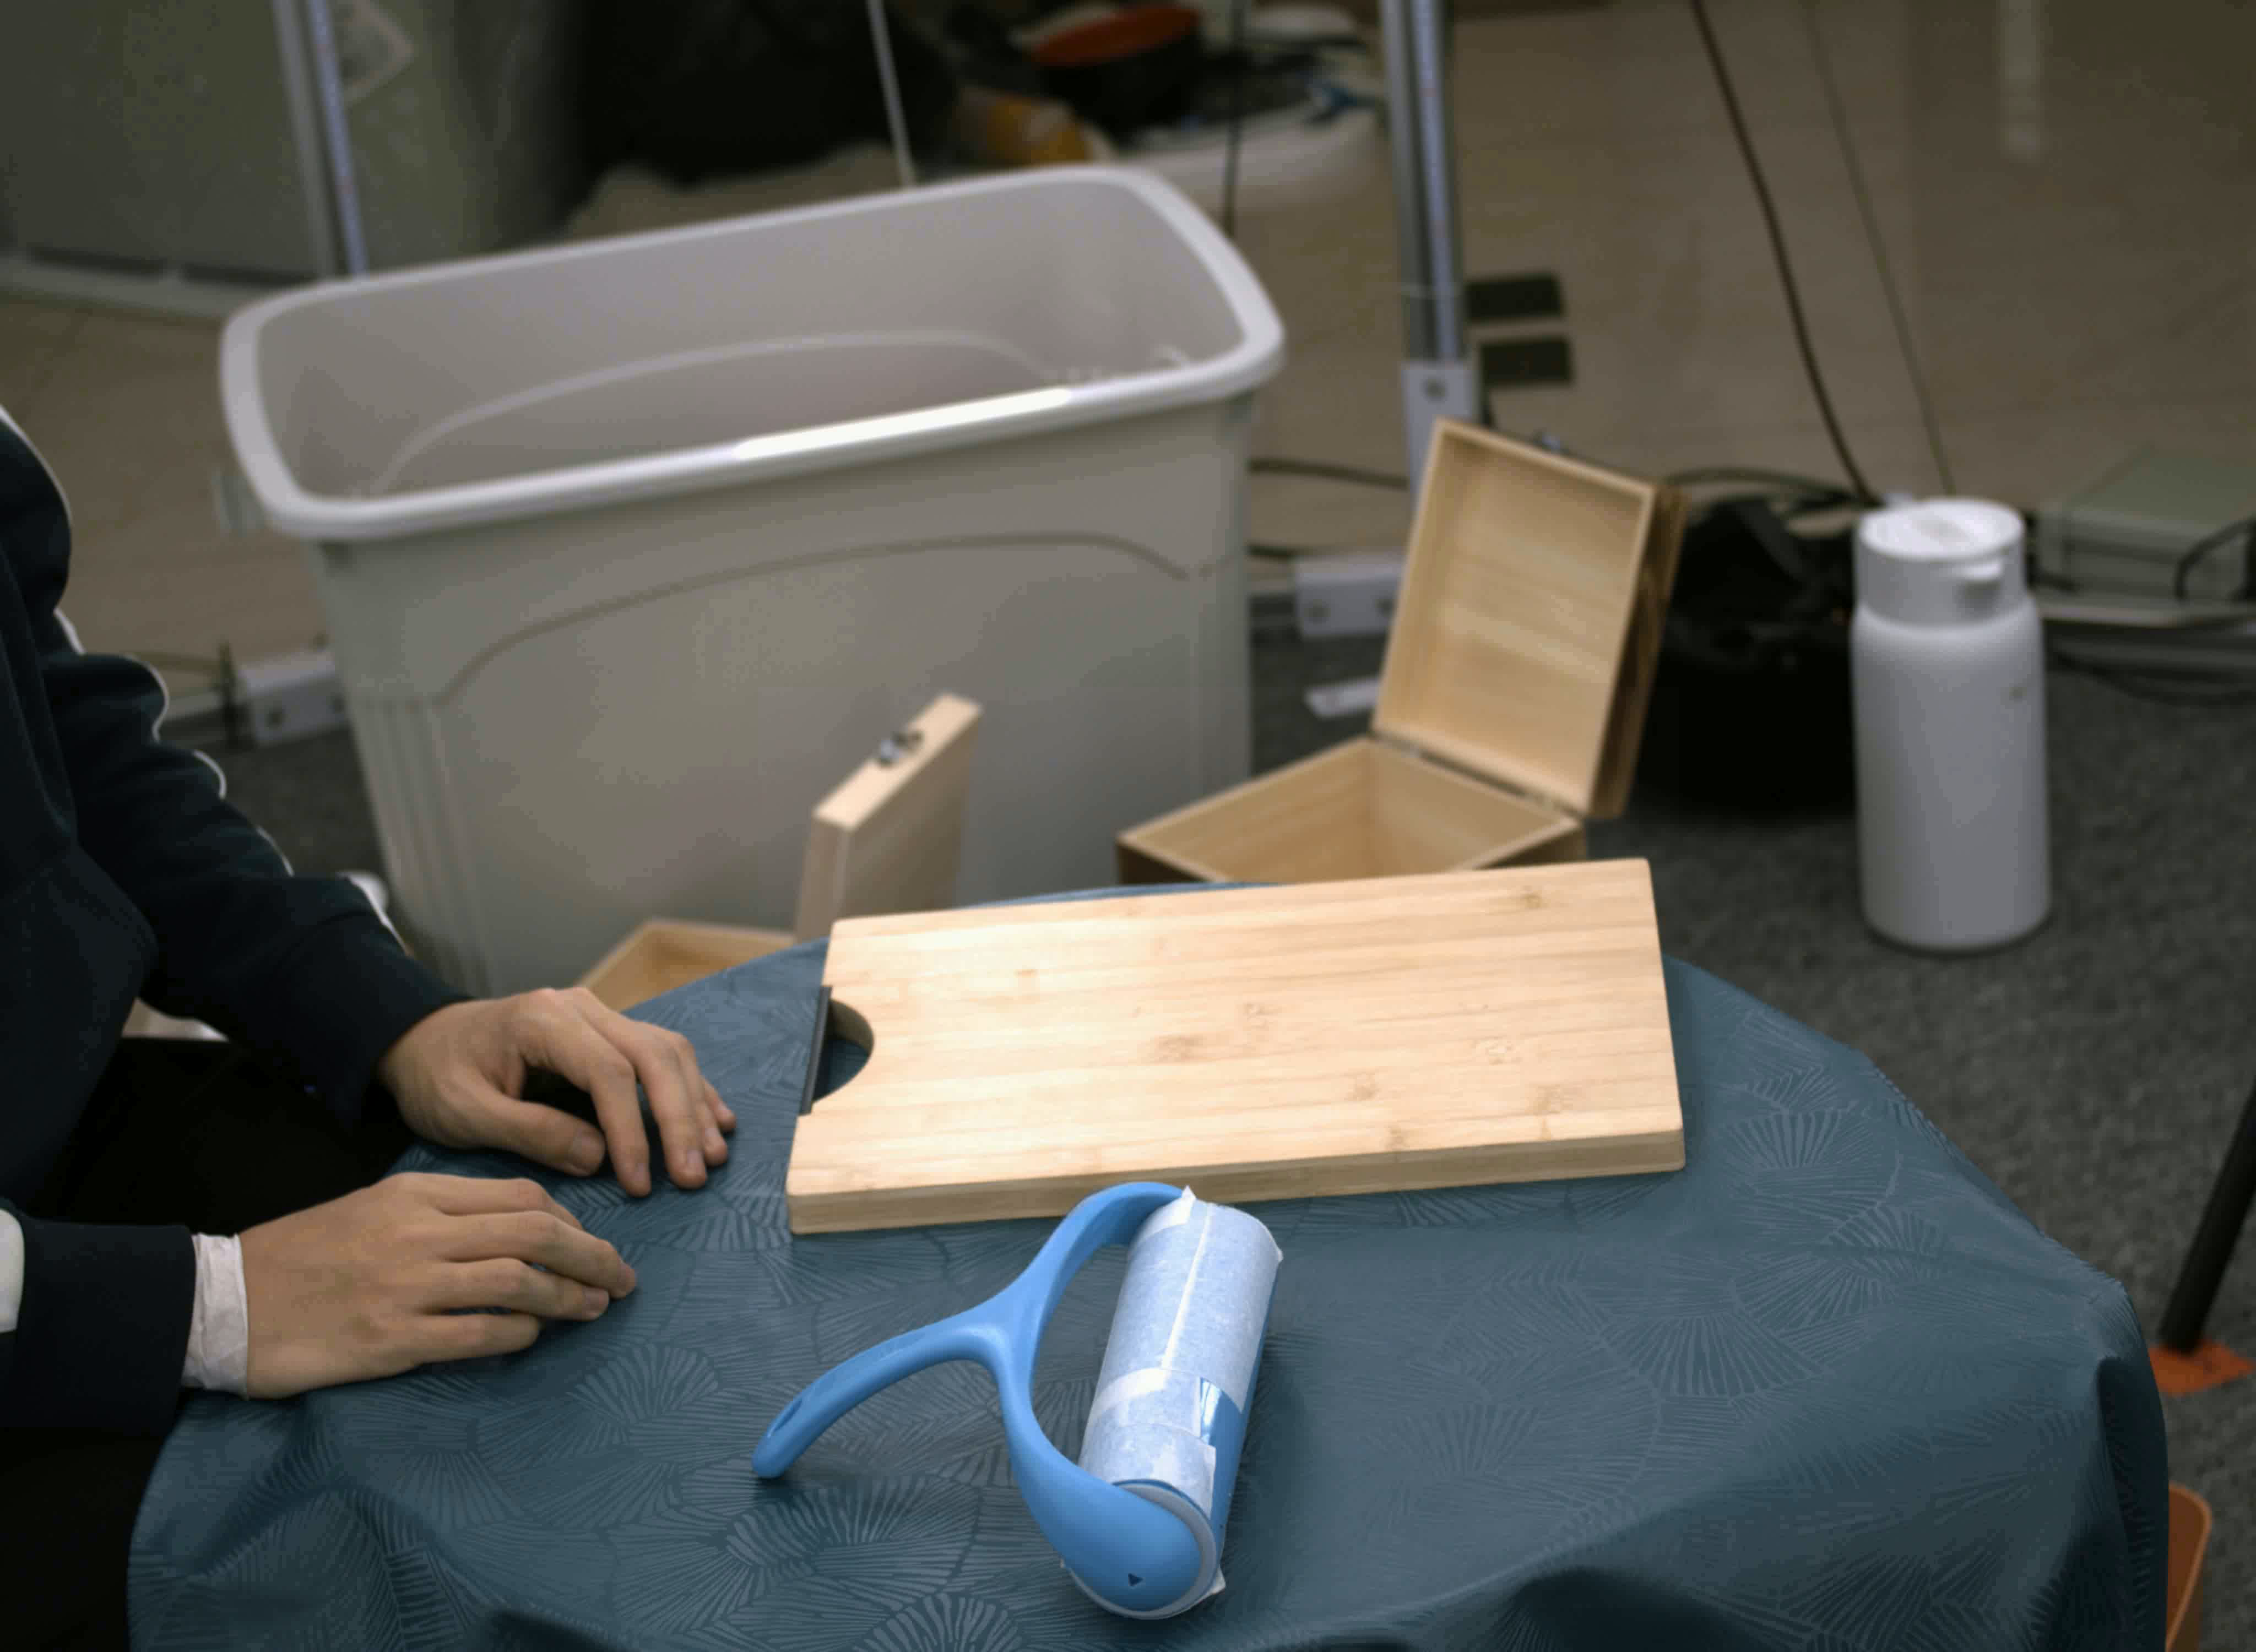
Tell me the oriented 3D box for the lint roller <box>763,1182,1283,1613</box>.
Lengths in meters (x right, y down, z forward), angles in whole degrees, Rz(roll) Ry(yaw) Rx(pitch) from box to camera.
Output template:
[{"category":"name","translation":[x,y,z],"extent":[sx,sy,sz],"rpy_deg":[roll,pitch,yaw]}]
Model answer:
[{"category":"lint roller","translation":[-0.041,0.198,1.959],"extent":[0.180,0.069,0.225],"rpy_deg":[-3,27,6]}]

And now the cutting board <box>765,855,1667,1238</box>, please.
[{"category":"cutting board","translation":[0.039,0.085,2.232],"extent":[0.348,0.024,0.247],"rpy_deg":[-5,25,3]}]
